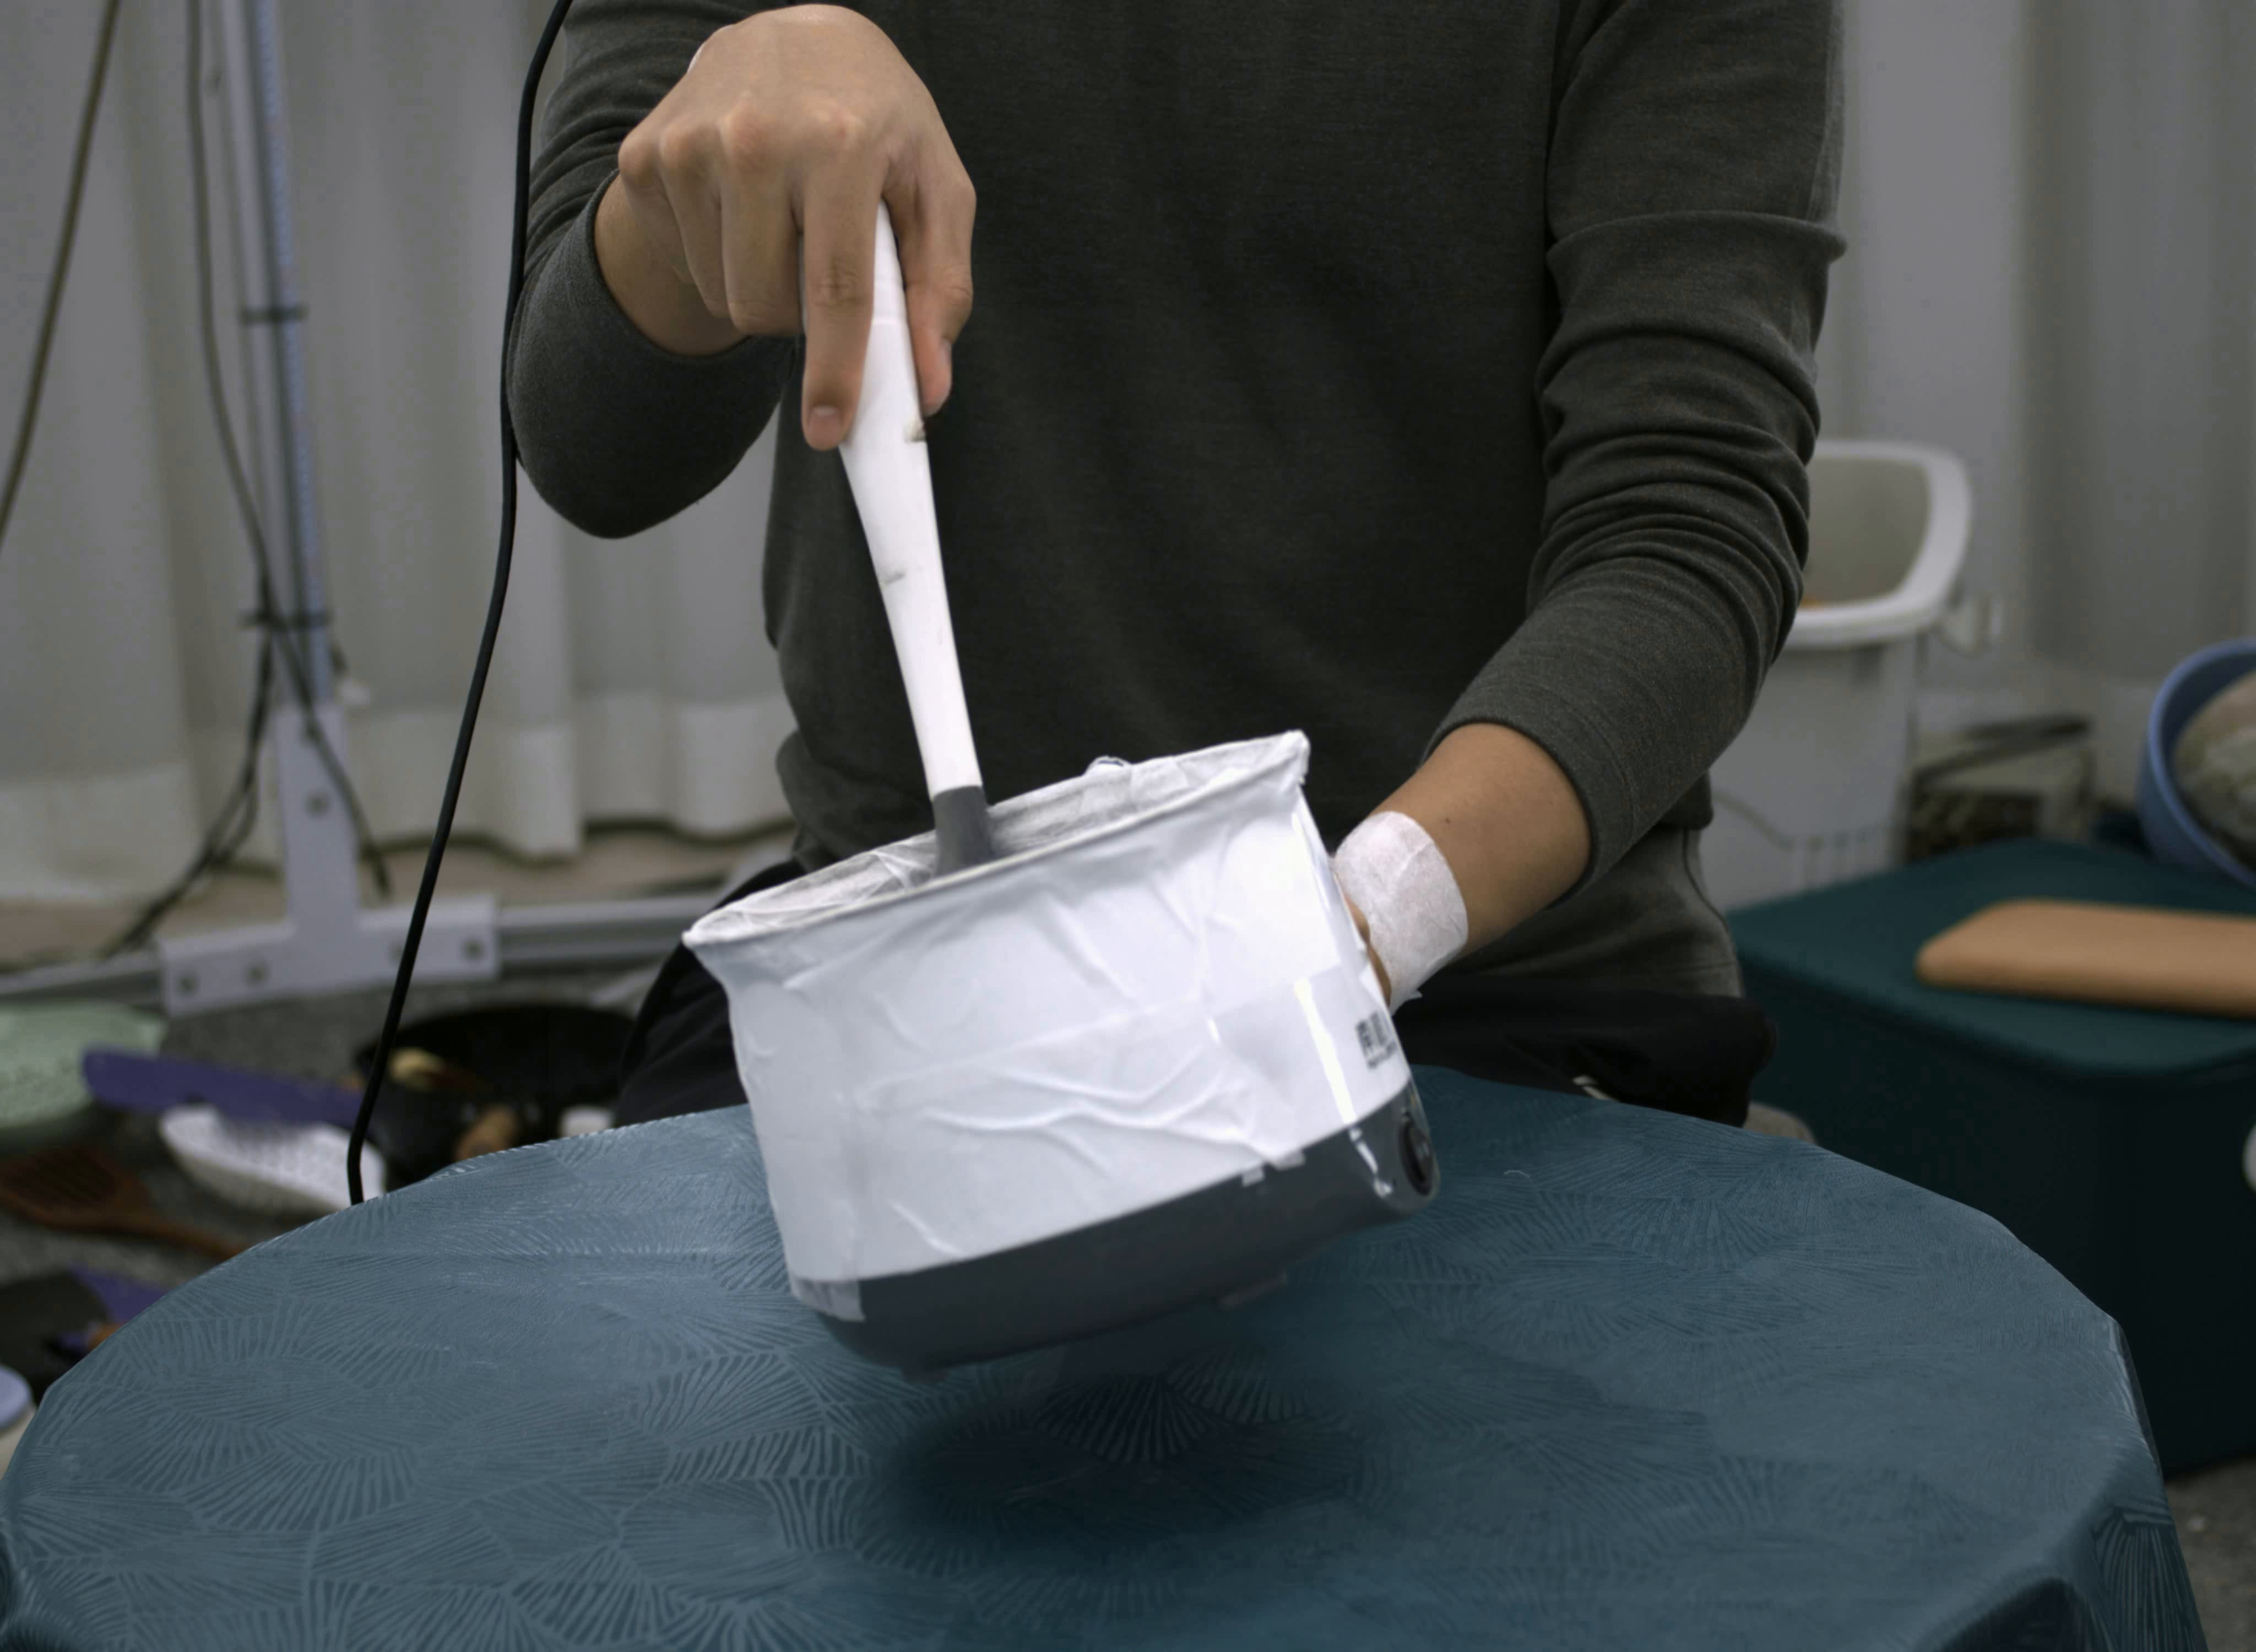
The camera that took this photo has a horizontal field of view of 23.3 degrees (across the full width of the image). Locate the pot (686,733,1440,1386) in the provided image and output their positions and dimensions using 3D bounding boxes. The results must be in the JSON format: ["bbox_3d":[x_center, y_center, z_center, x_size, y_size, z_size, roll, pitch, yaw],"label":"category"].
[{"bbox_3d":[-0.009,0.058,1.507,0.178,0.136,0.234,-16,5,19],"label":"pot"}]

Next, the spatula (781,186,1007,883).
[{"bbox_3d":[-0.057,-0.045,1.550,0.058,0.291,0.032,-9,-18,-7],"label":"spatula"}]
